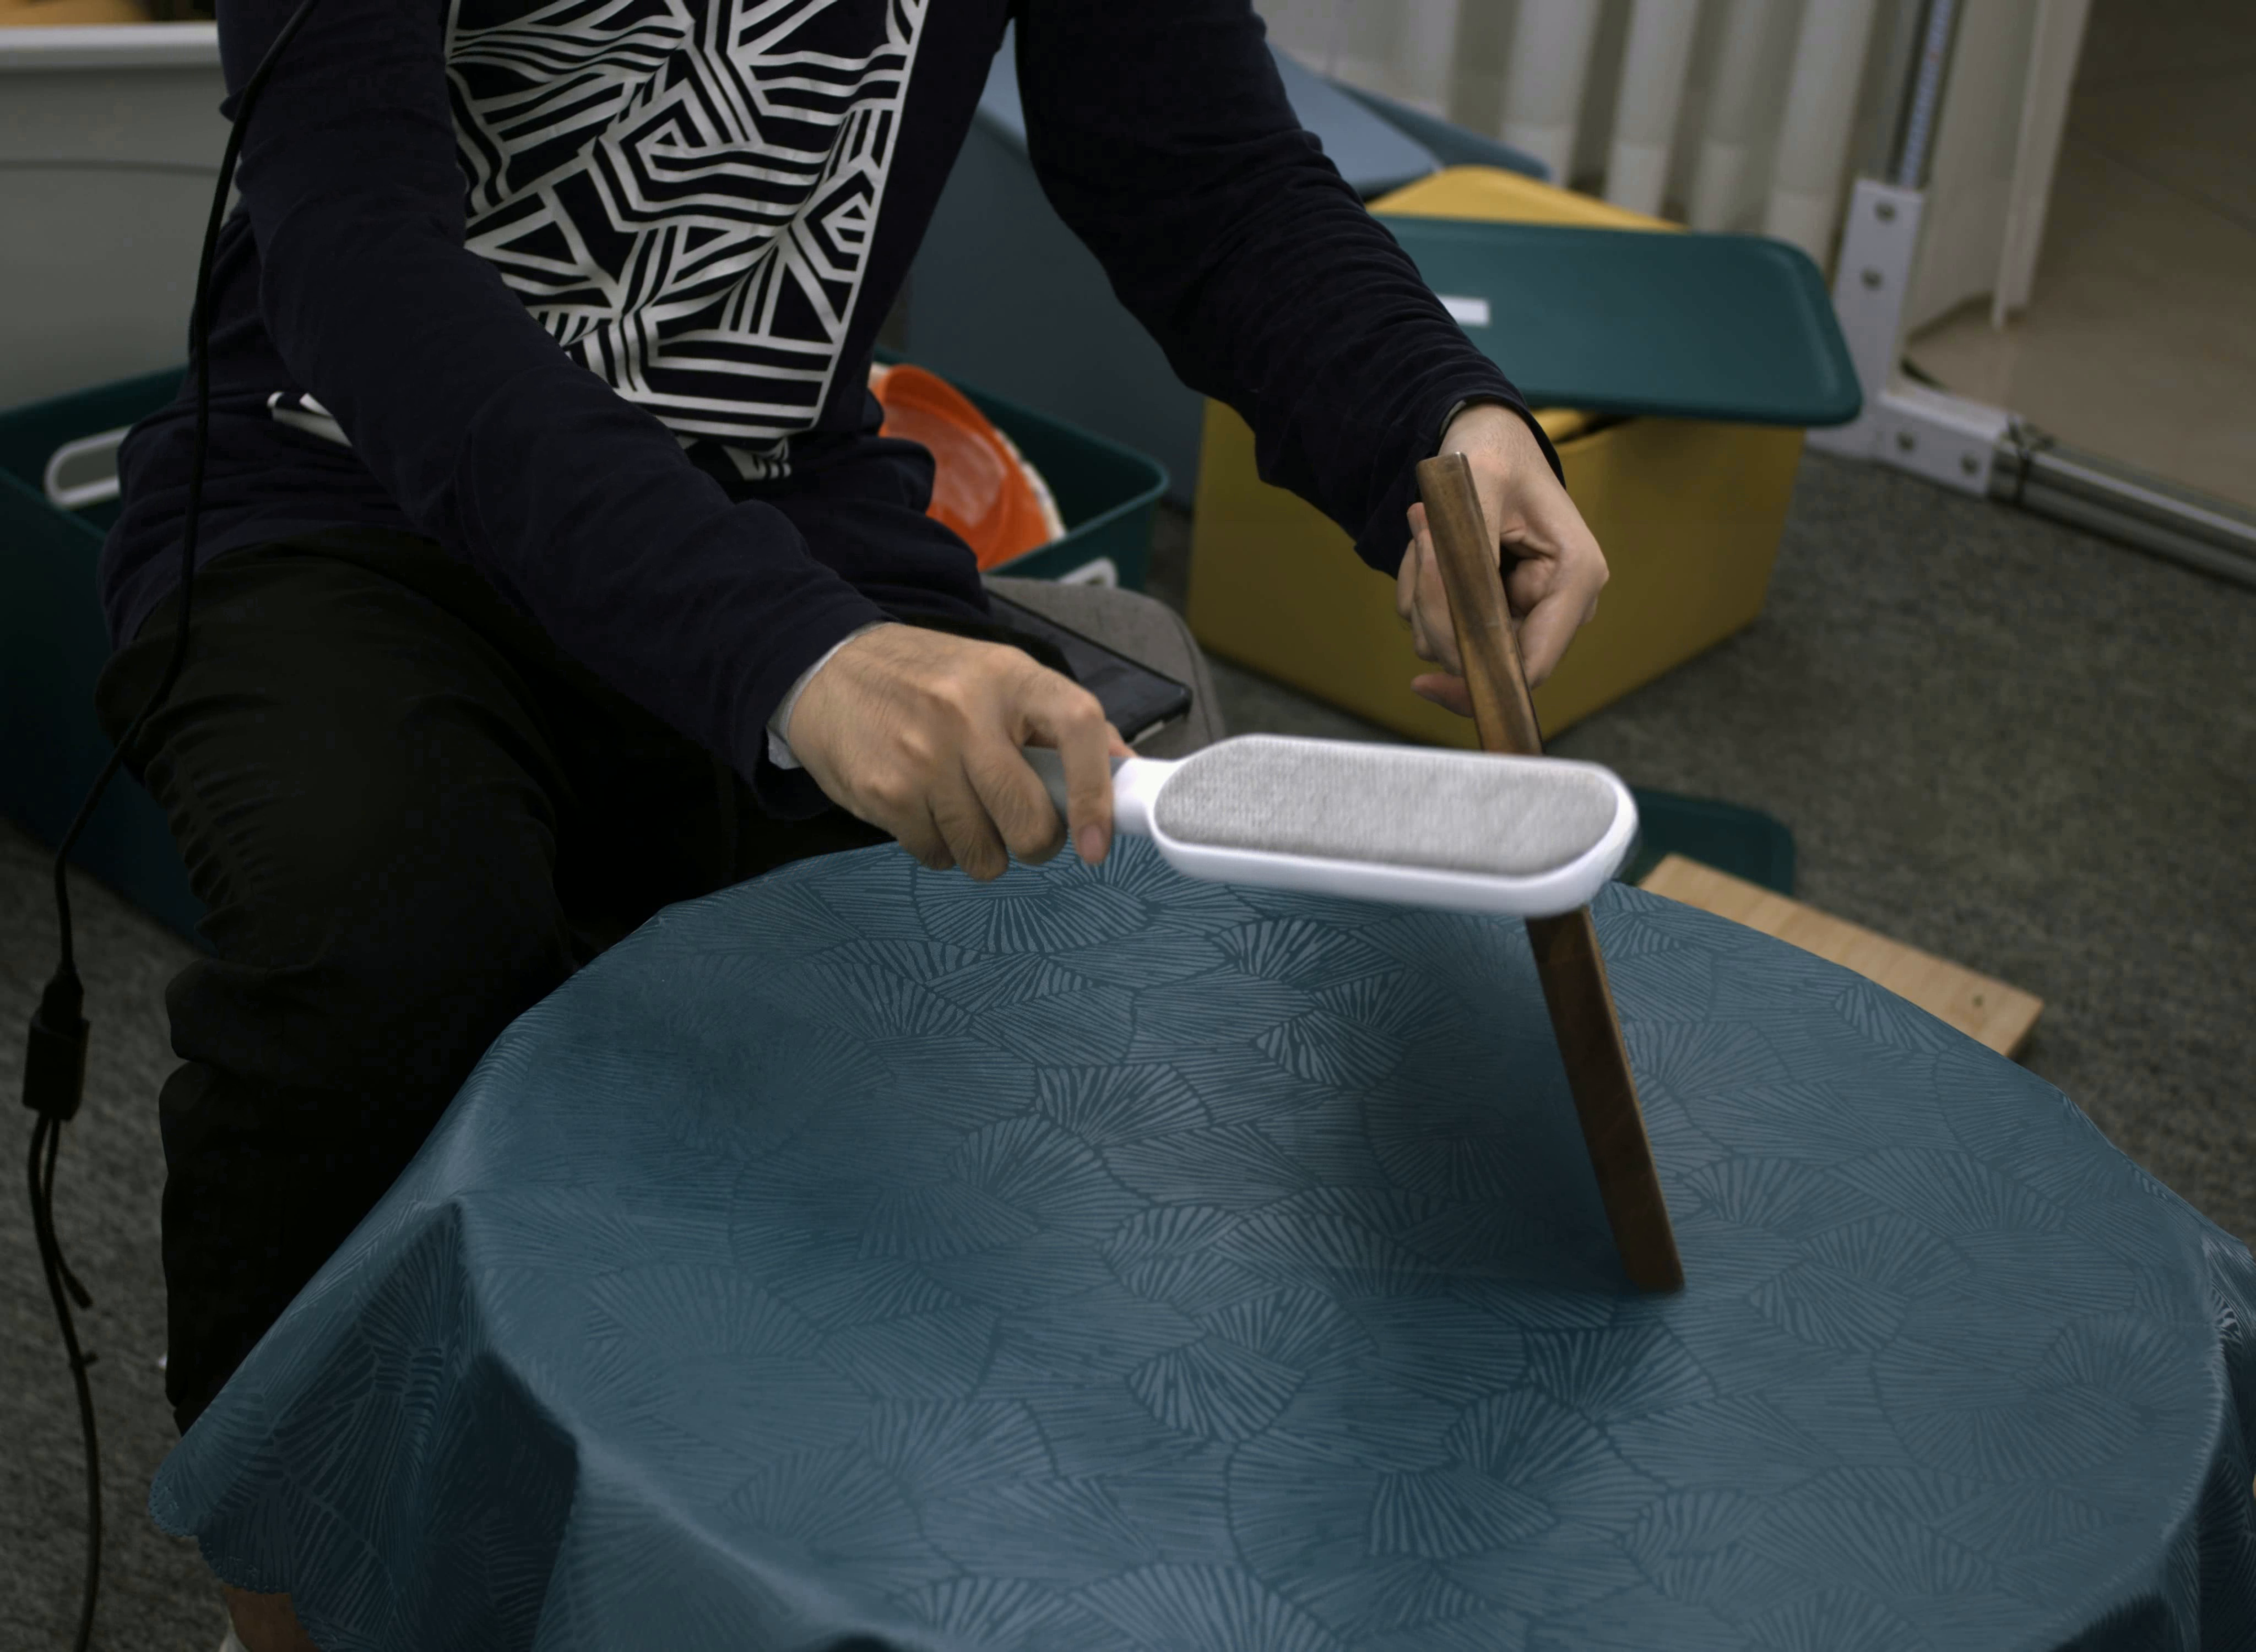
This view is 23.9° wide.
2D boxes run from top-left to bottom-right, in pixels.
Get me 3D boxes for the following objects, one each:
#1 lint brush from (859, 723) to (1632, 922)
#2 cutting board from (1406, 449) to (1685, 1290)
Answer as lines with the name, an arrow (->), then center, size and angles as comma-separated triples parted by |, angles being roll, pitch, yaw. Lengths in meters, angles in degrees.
lint brush -> 0.031, -0.008, 1.729 | 0.310, 0.021, 0.060 | 7, 53, 39
cutting board -> 0.139, -0.015, 1.872 | 0.023, 0.200, 0.355 | -16, 32, 5
